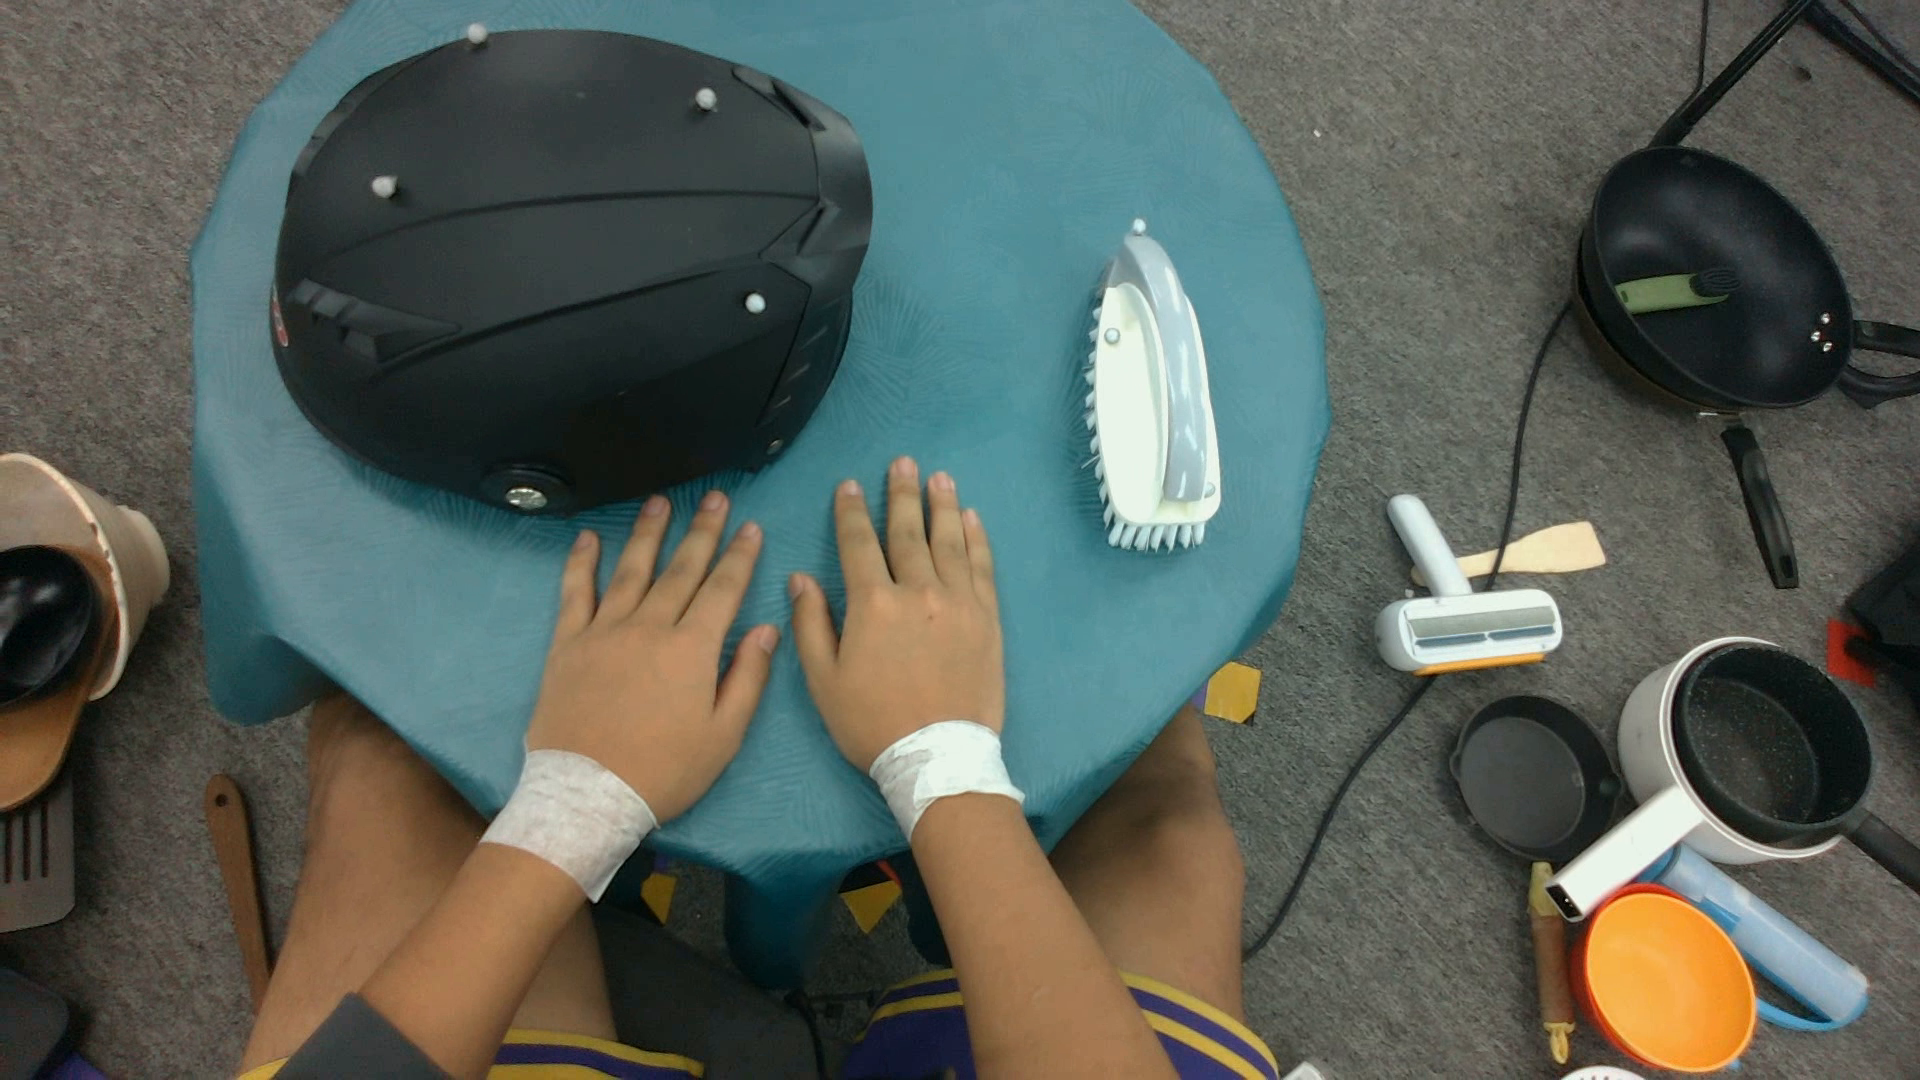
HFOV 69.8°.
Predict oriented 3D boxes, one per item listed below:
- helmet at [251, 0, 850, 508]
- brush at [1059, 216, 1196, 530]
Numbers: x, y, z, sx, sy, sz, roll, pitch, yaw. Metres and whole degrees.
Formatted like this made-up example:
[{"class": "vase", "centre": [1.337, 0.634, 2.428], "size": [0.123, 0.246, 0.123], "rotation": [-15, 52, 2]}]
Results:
[{"class": "helmet", "centre": [-0.192, -0.149, 0.643], "size": [0.277, 0.171, 0.247], "rotation": [-3, 69, -16]}, {"class": "brush", "centre": [0.088, -0.101, 0.712], "size": [0.061, 0.094, 0.176], "rotation": [0, 67, -12]}]
